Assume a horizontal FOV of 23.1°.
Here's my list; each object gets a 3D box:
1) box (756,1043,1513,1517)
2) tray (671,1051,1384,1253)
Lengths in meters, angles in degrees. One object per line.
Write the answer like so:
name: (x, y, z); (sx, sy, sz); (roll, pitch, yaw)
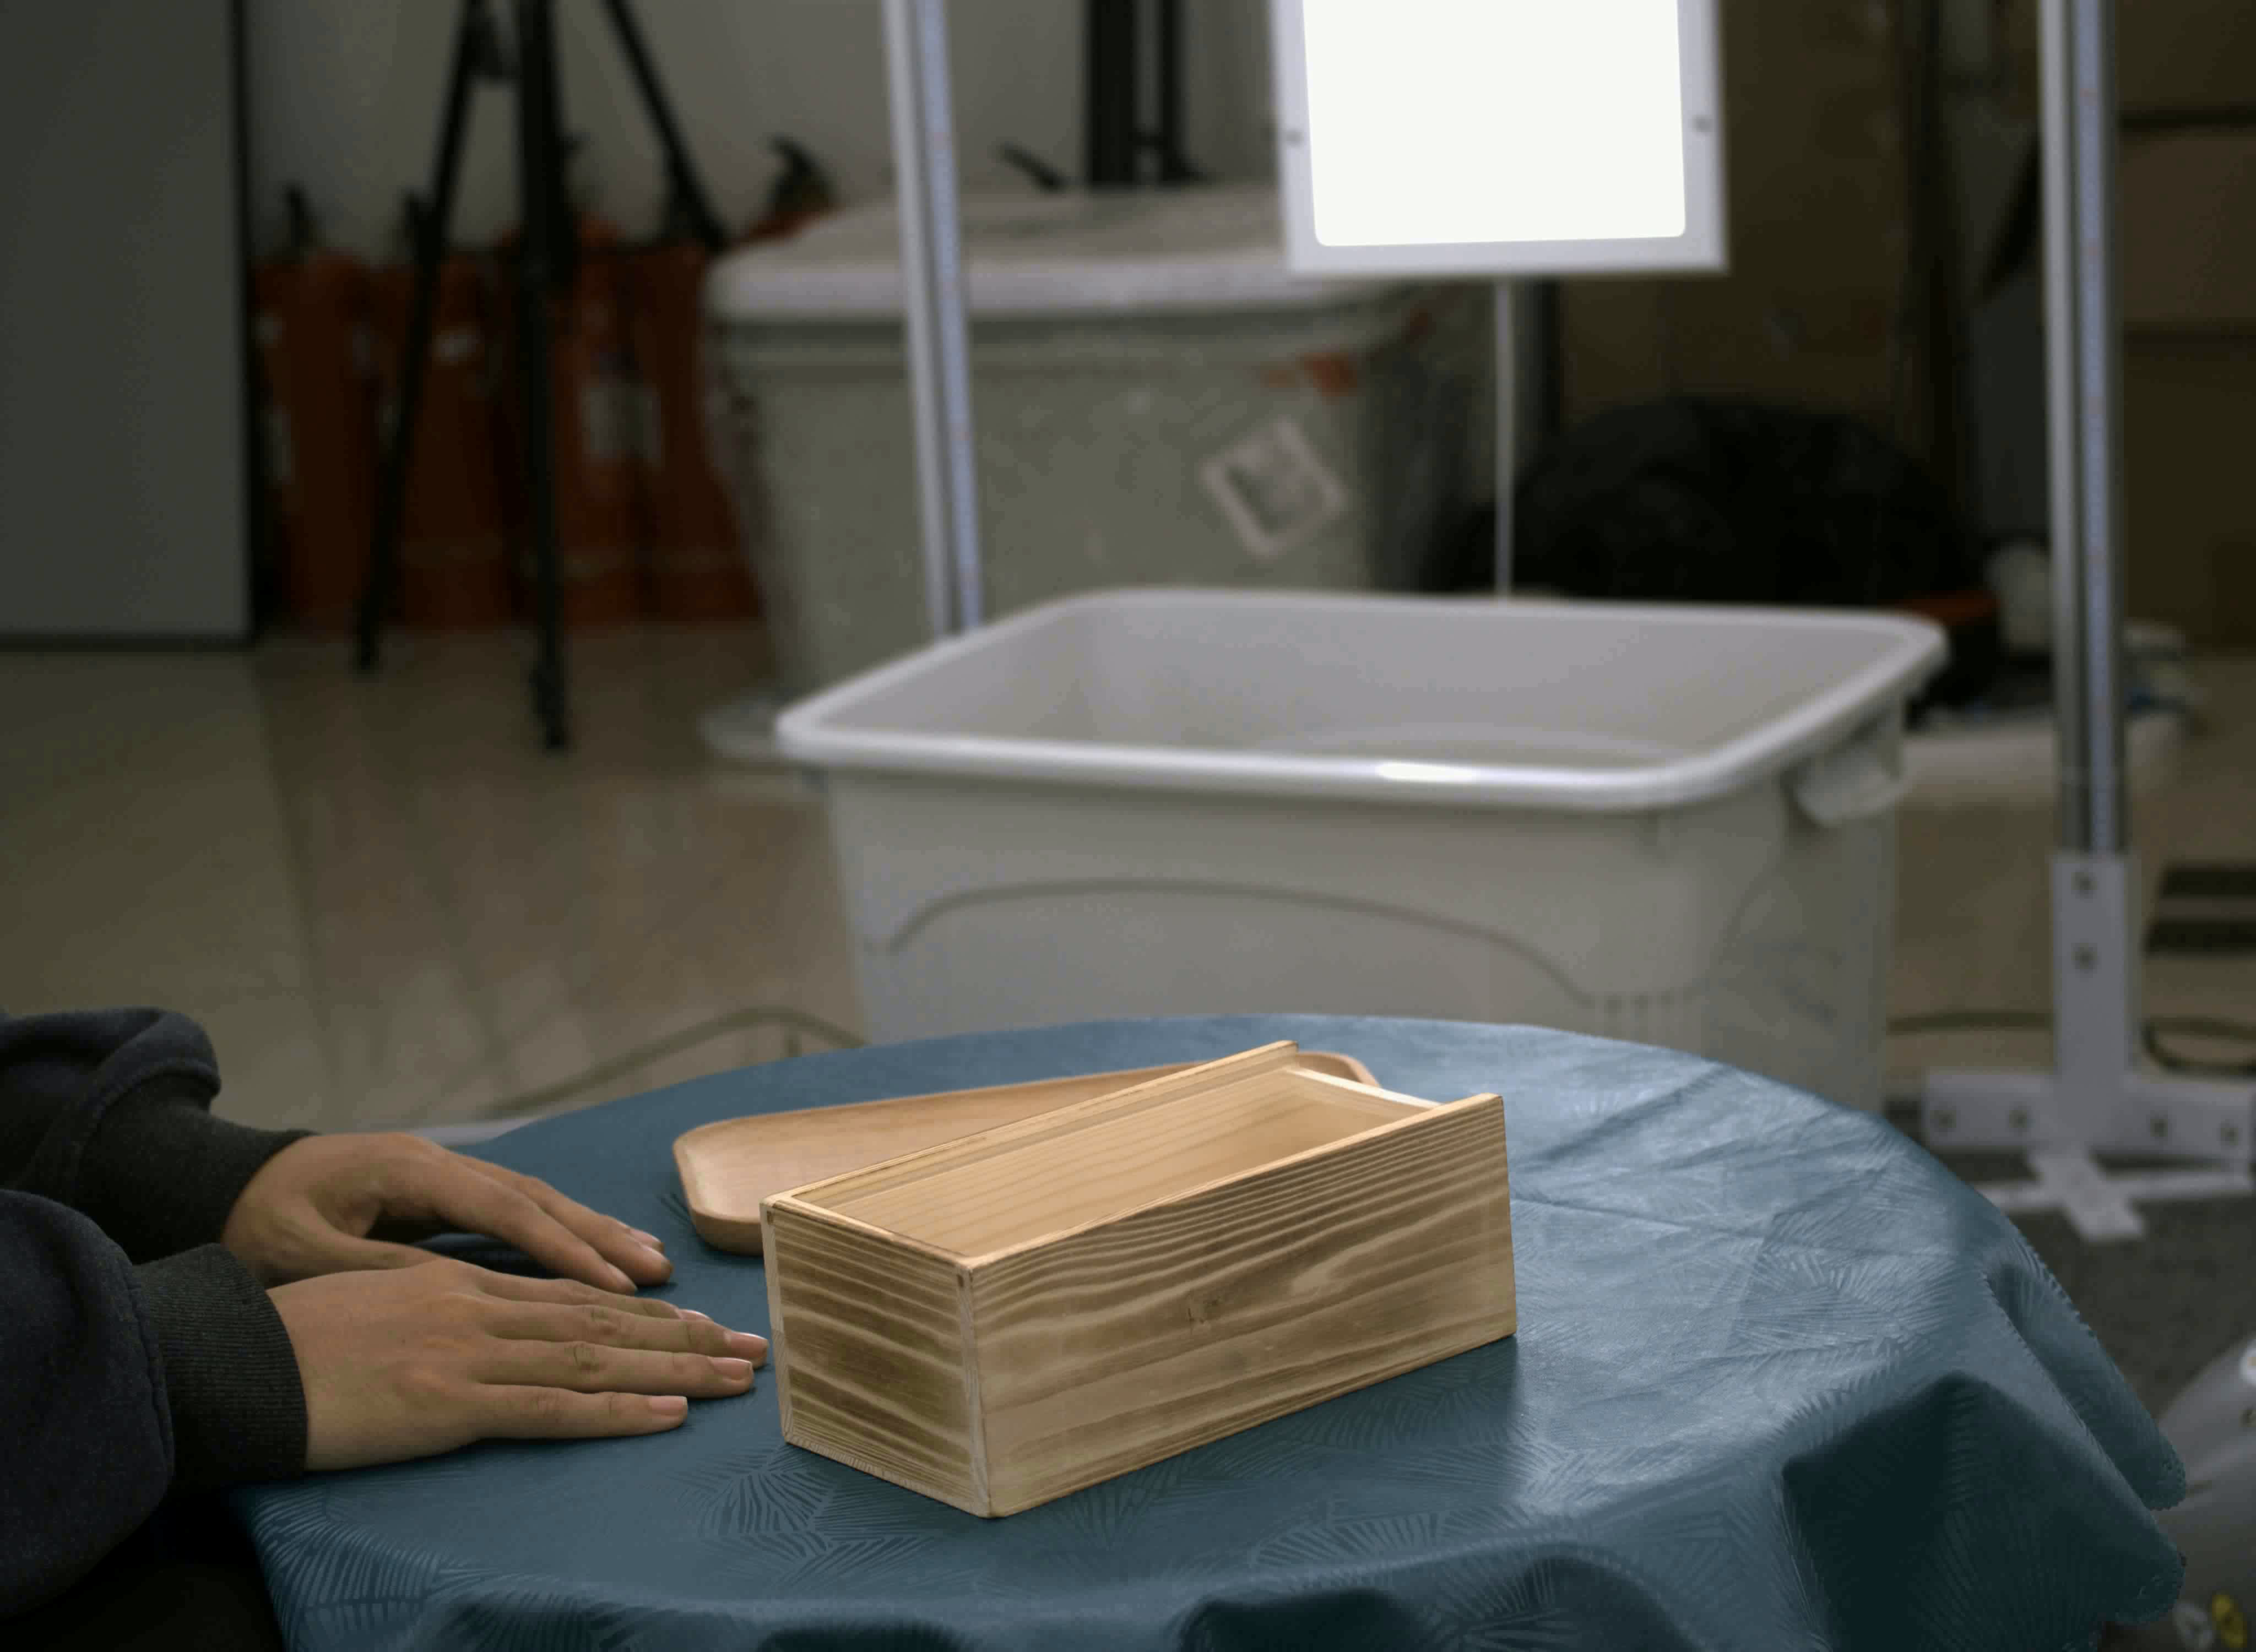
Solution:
box: (0.004, 0.135, 1.691); (0.206, 0.080, 0.110); (-15, 17, -35)
tray: (-0.032, 0.113, 1.926); (0.249, 0.023, 0.131); (-7, 11, -6)
